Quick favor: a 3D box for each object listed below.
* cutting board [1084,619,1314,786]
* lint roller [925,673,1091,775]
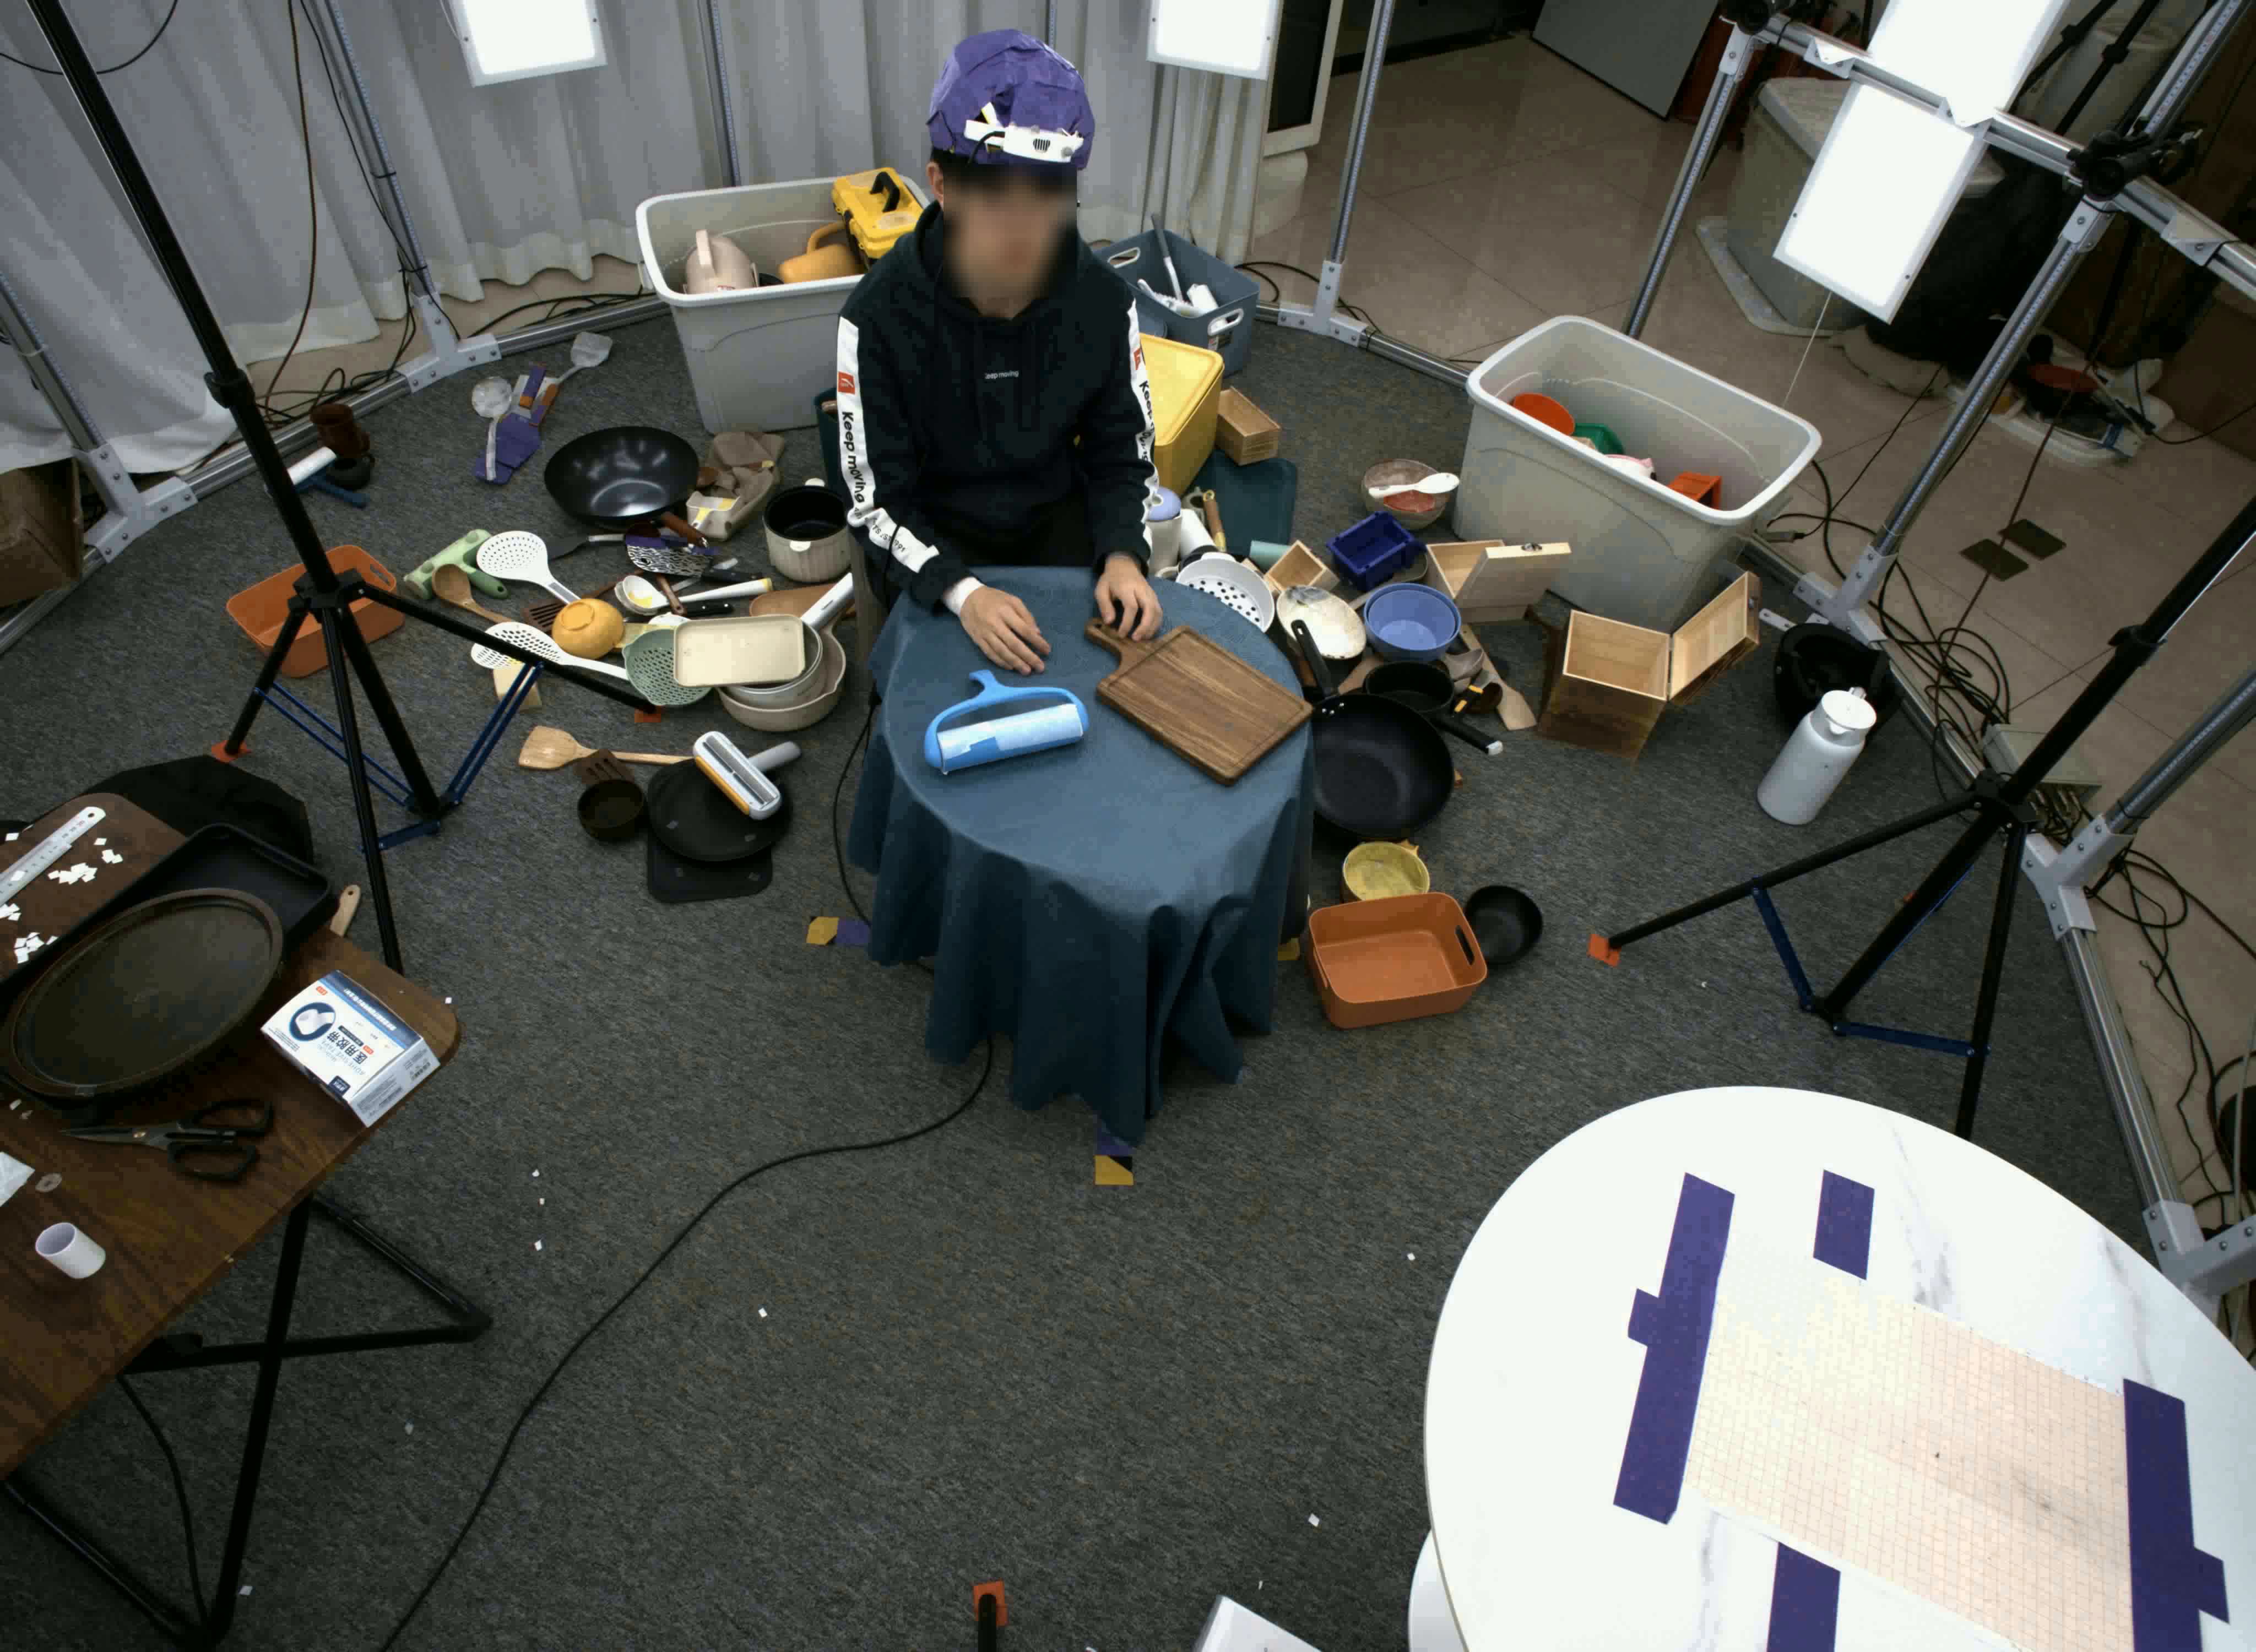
[{"bbox_3d":[0.072,-0.204,1.835,0.357,0.022,0.203,36,55,24],"label":"cutting board"},{"bbox_3d":[-0.183,-0.163,1.760,0.229,0.066,0.184,-17,53,-16],"label":"lint roller"}]
